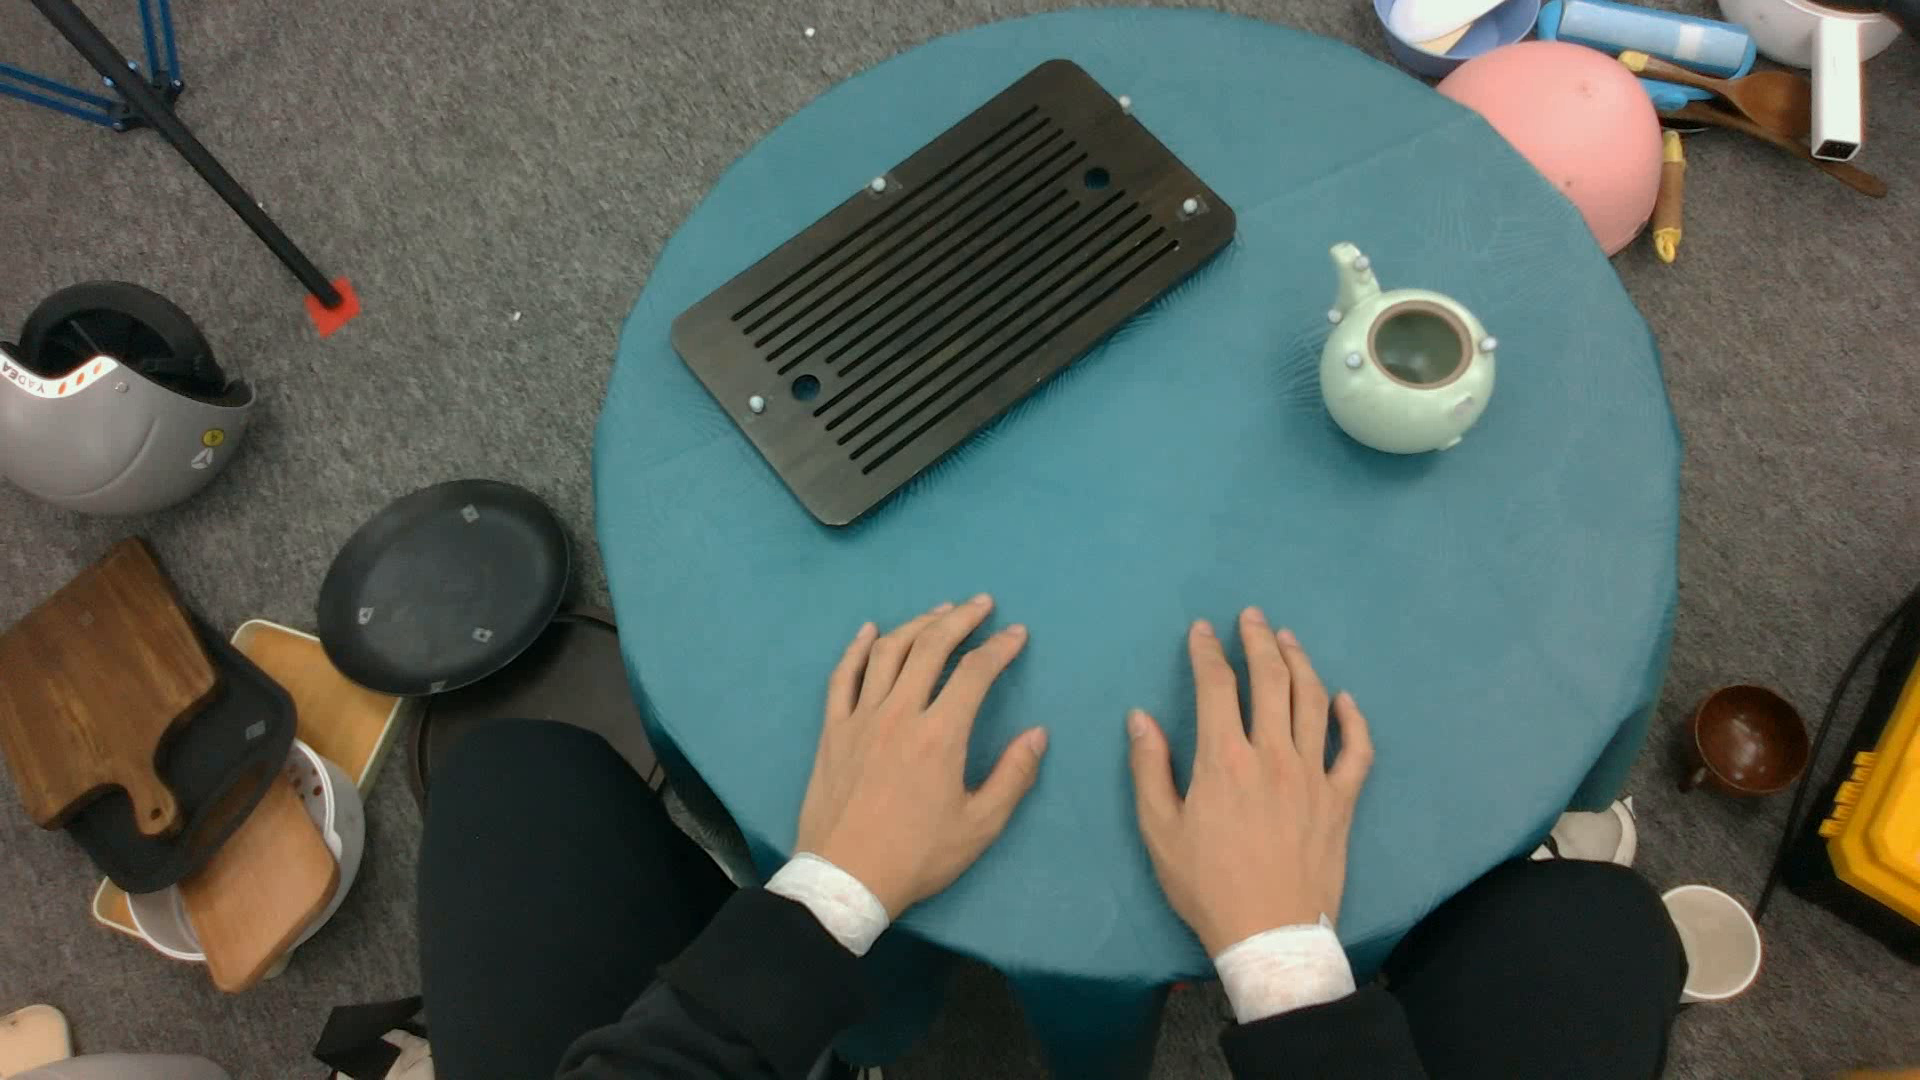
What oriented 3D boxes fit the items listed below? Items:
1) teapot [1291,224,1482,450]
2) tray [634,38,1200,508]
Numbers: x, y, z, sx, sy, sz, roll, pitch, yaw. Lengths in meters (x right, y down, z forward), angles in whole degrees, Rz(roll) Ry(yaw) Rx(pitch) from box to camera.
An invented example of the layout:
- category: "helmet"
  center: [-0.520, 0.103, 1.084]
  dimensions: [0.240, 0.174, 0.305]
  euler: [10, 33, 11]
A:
- category: "teapot"
  center: [0.223, -0.101, 0.739]
  dimensions: [0.088, 0.074, 0.144]
  euler: [-29, 68, -8]
- category: "tray"
  center: [-0.023, -0.162, 0.804]
  dimensions: [0.306, 0.018, 0.170]
  euler: [-38, 71, -12]
